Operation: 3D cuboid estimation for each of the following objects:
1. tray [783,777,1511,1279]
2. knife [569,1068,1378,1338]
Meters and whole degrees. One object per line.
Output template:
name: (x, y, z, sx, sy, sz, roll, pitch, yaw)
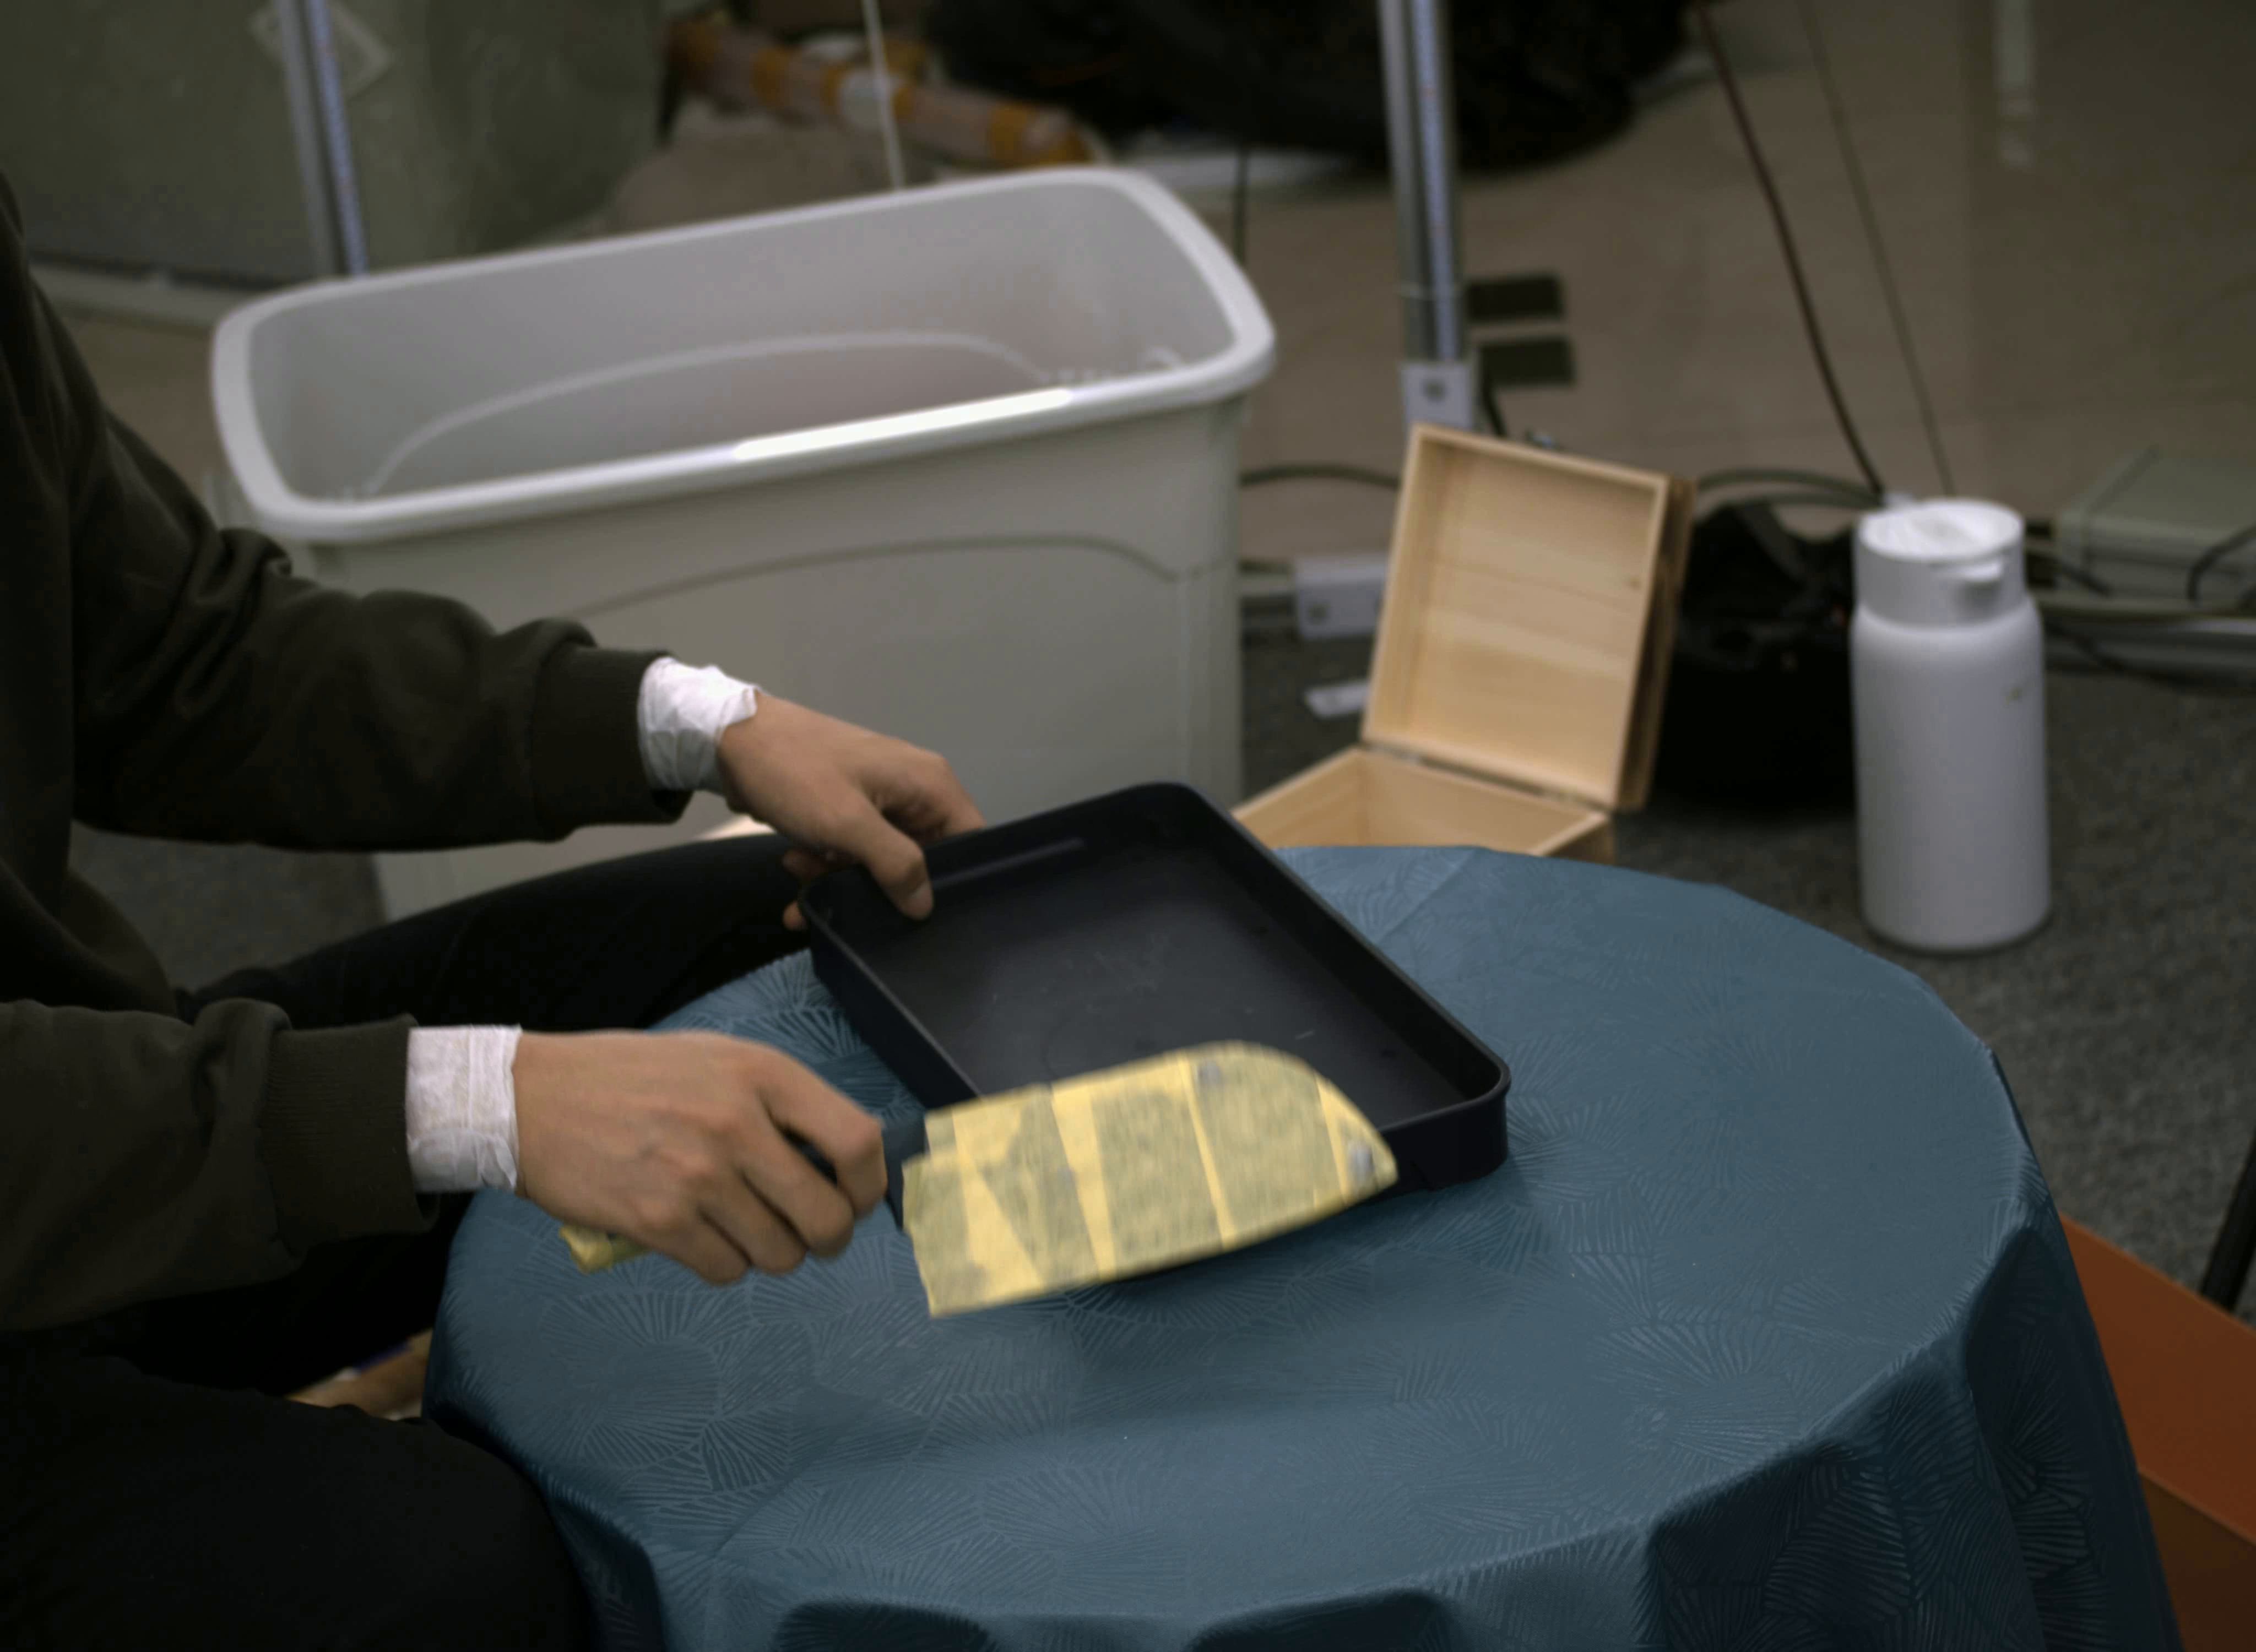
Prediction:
tray: (0.003, 0.074, 2.235, 0.183, 0.037, 0.314, -18, 29, -20)
knife: (-0.054, 0.140, 2.005, 0.289, 0.027, 0.080, -10, 68, 1)
